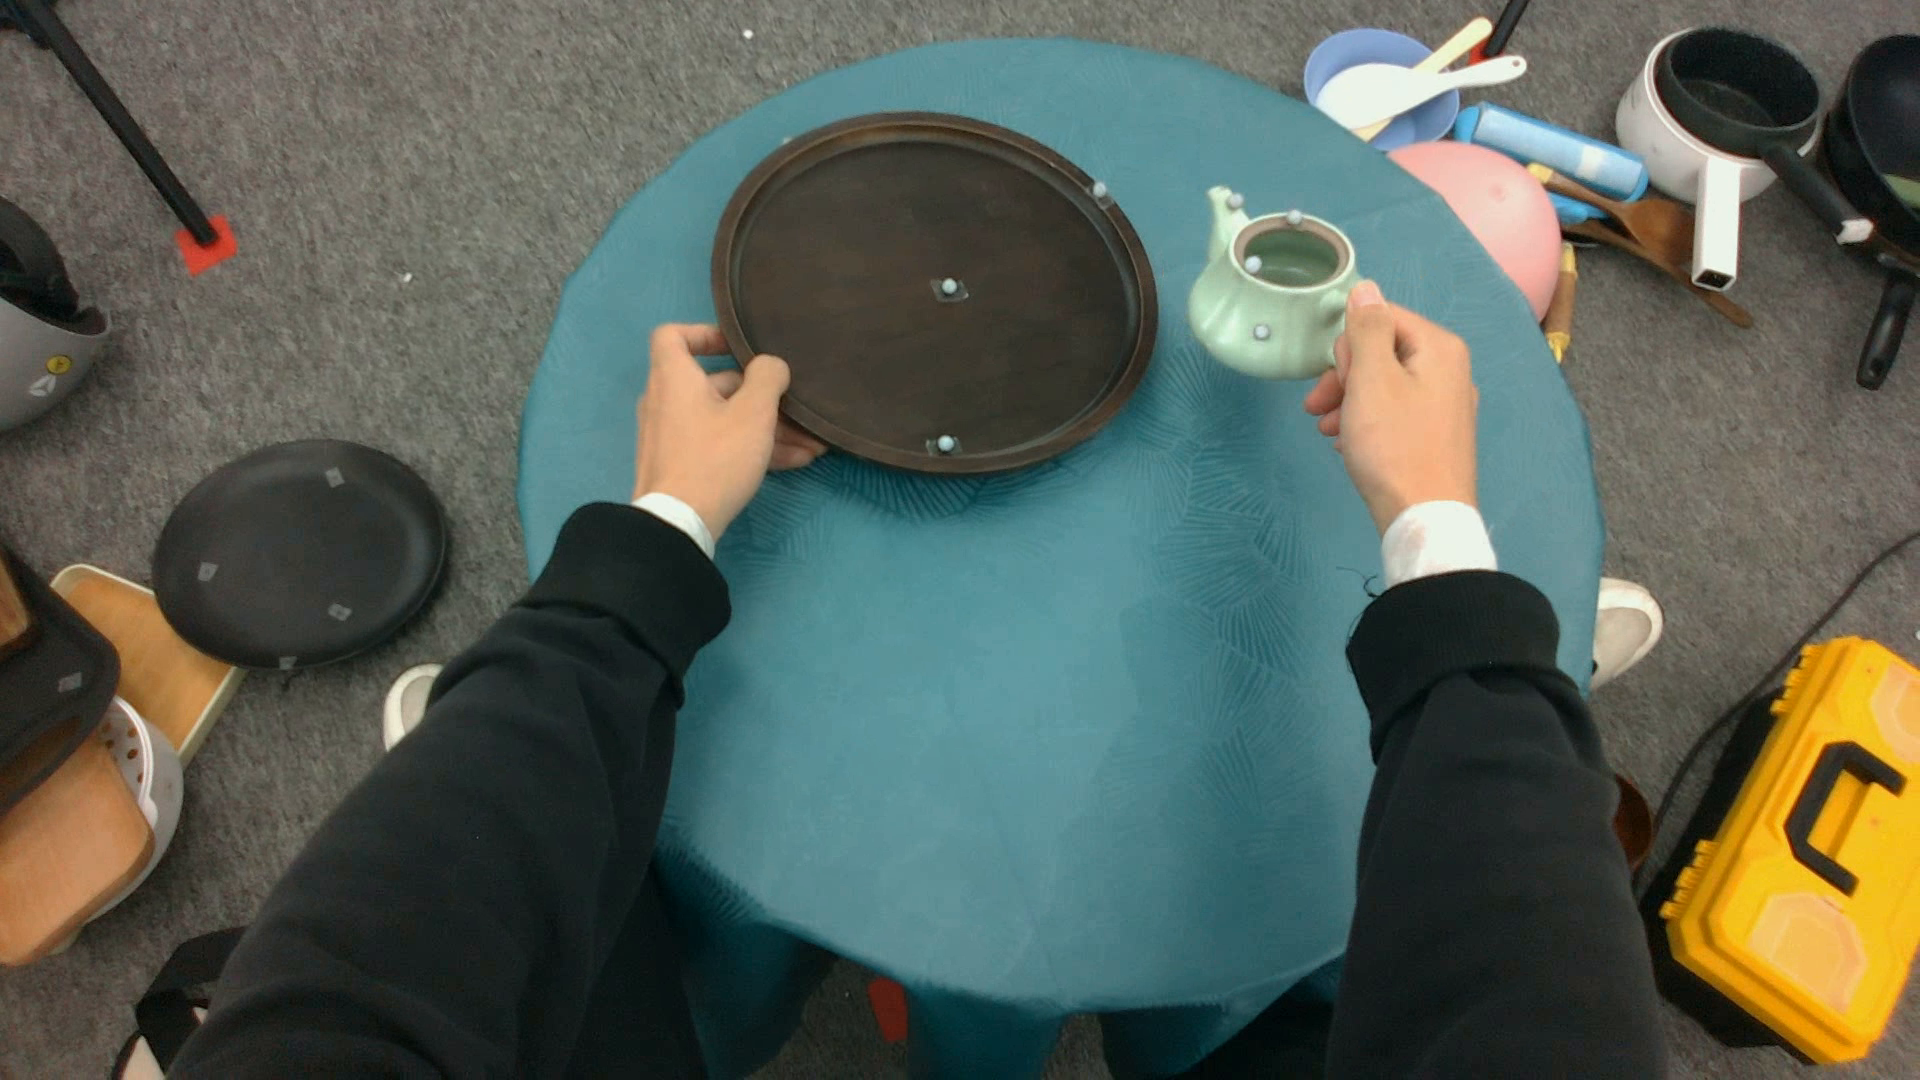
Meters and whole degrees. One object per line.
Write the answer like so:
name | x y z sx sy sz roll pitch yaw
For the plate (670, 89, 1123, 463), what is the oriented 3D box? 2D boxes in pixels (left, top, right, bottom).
plate | -0.033 -0.152 0.771 0.255 0.029 0.256 6 61 -10

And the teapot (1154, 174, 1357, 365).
teapot | 0.154 -0.134 0.718 0.096 0.061 0.137 -26 54 -20
